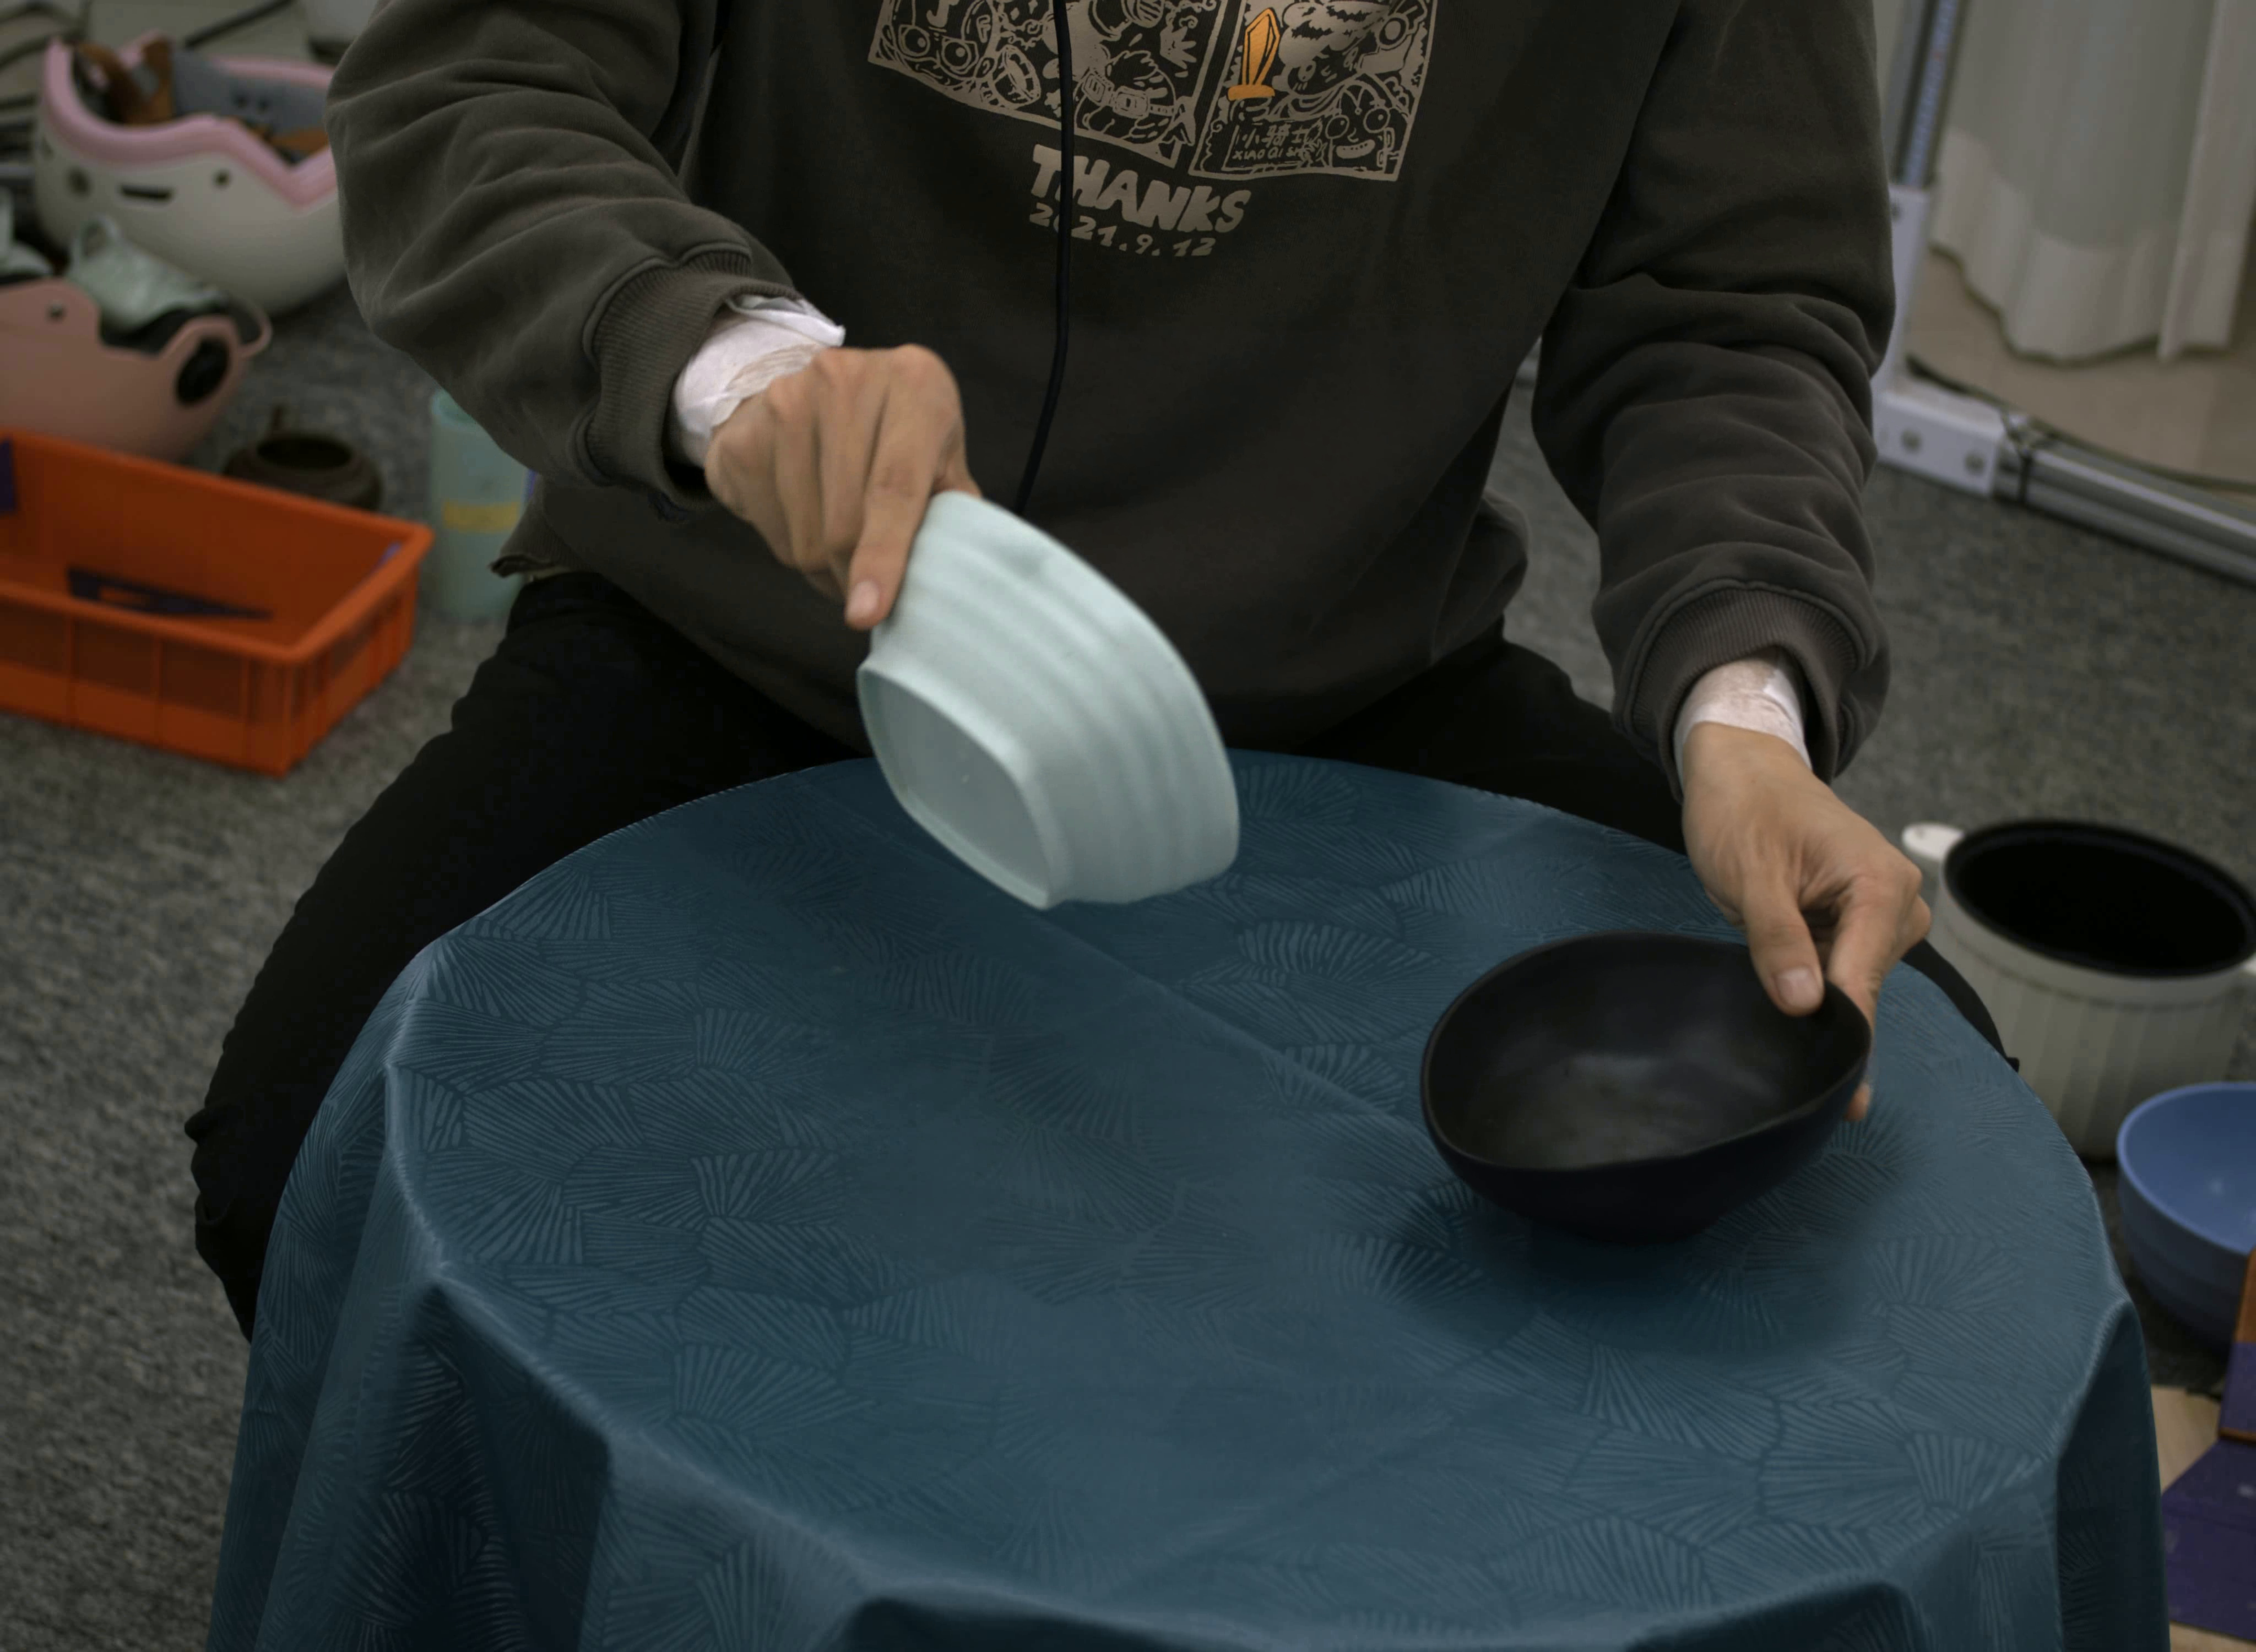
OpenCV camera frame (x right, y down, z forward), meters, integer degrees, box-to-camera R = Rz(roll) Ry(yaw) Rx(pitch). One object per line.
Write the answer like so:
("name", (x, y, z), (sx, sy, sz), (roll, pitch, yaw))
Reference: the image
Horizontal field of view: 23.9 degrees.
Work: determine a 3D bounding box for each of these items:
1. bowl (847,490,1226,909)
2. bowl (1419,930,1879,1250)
("bowl", (-0.038, -0.029, 1.681), (0.058, 0.150, 0.153), (-39, 45, -18))
("bowl", (0.177, 0.101, 1.814), (0.169, 0.066, 0.138), (-22, 35, -35))
